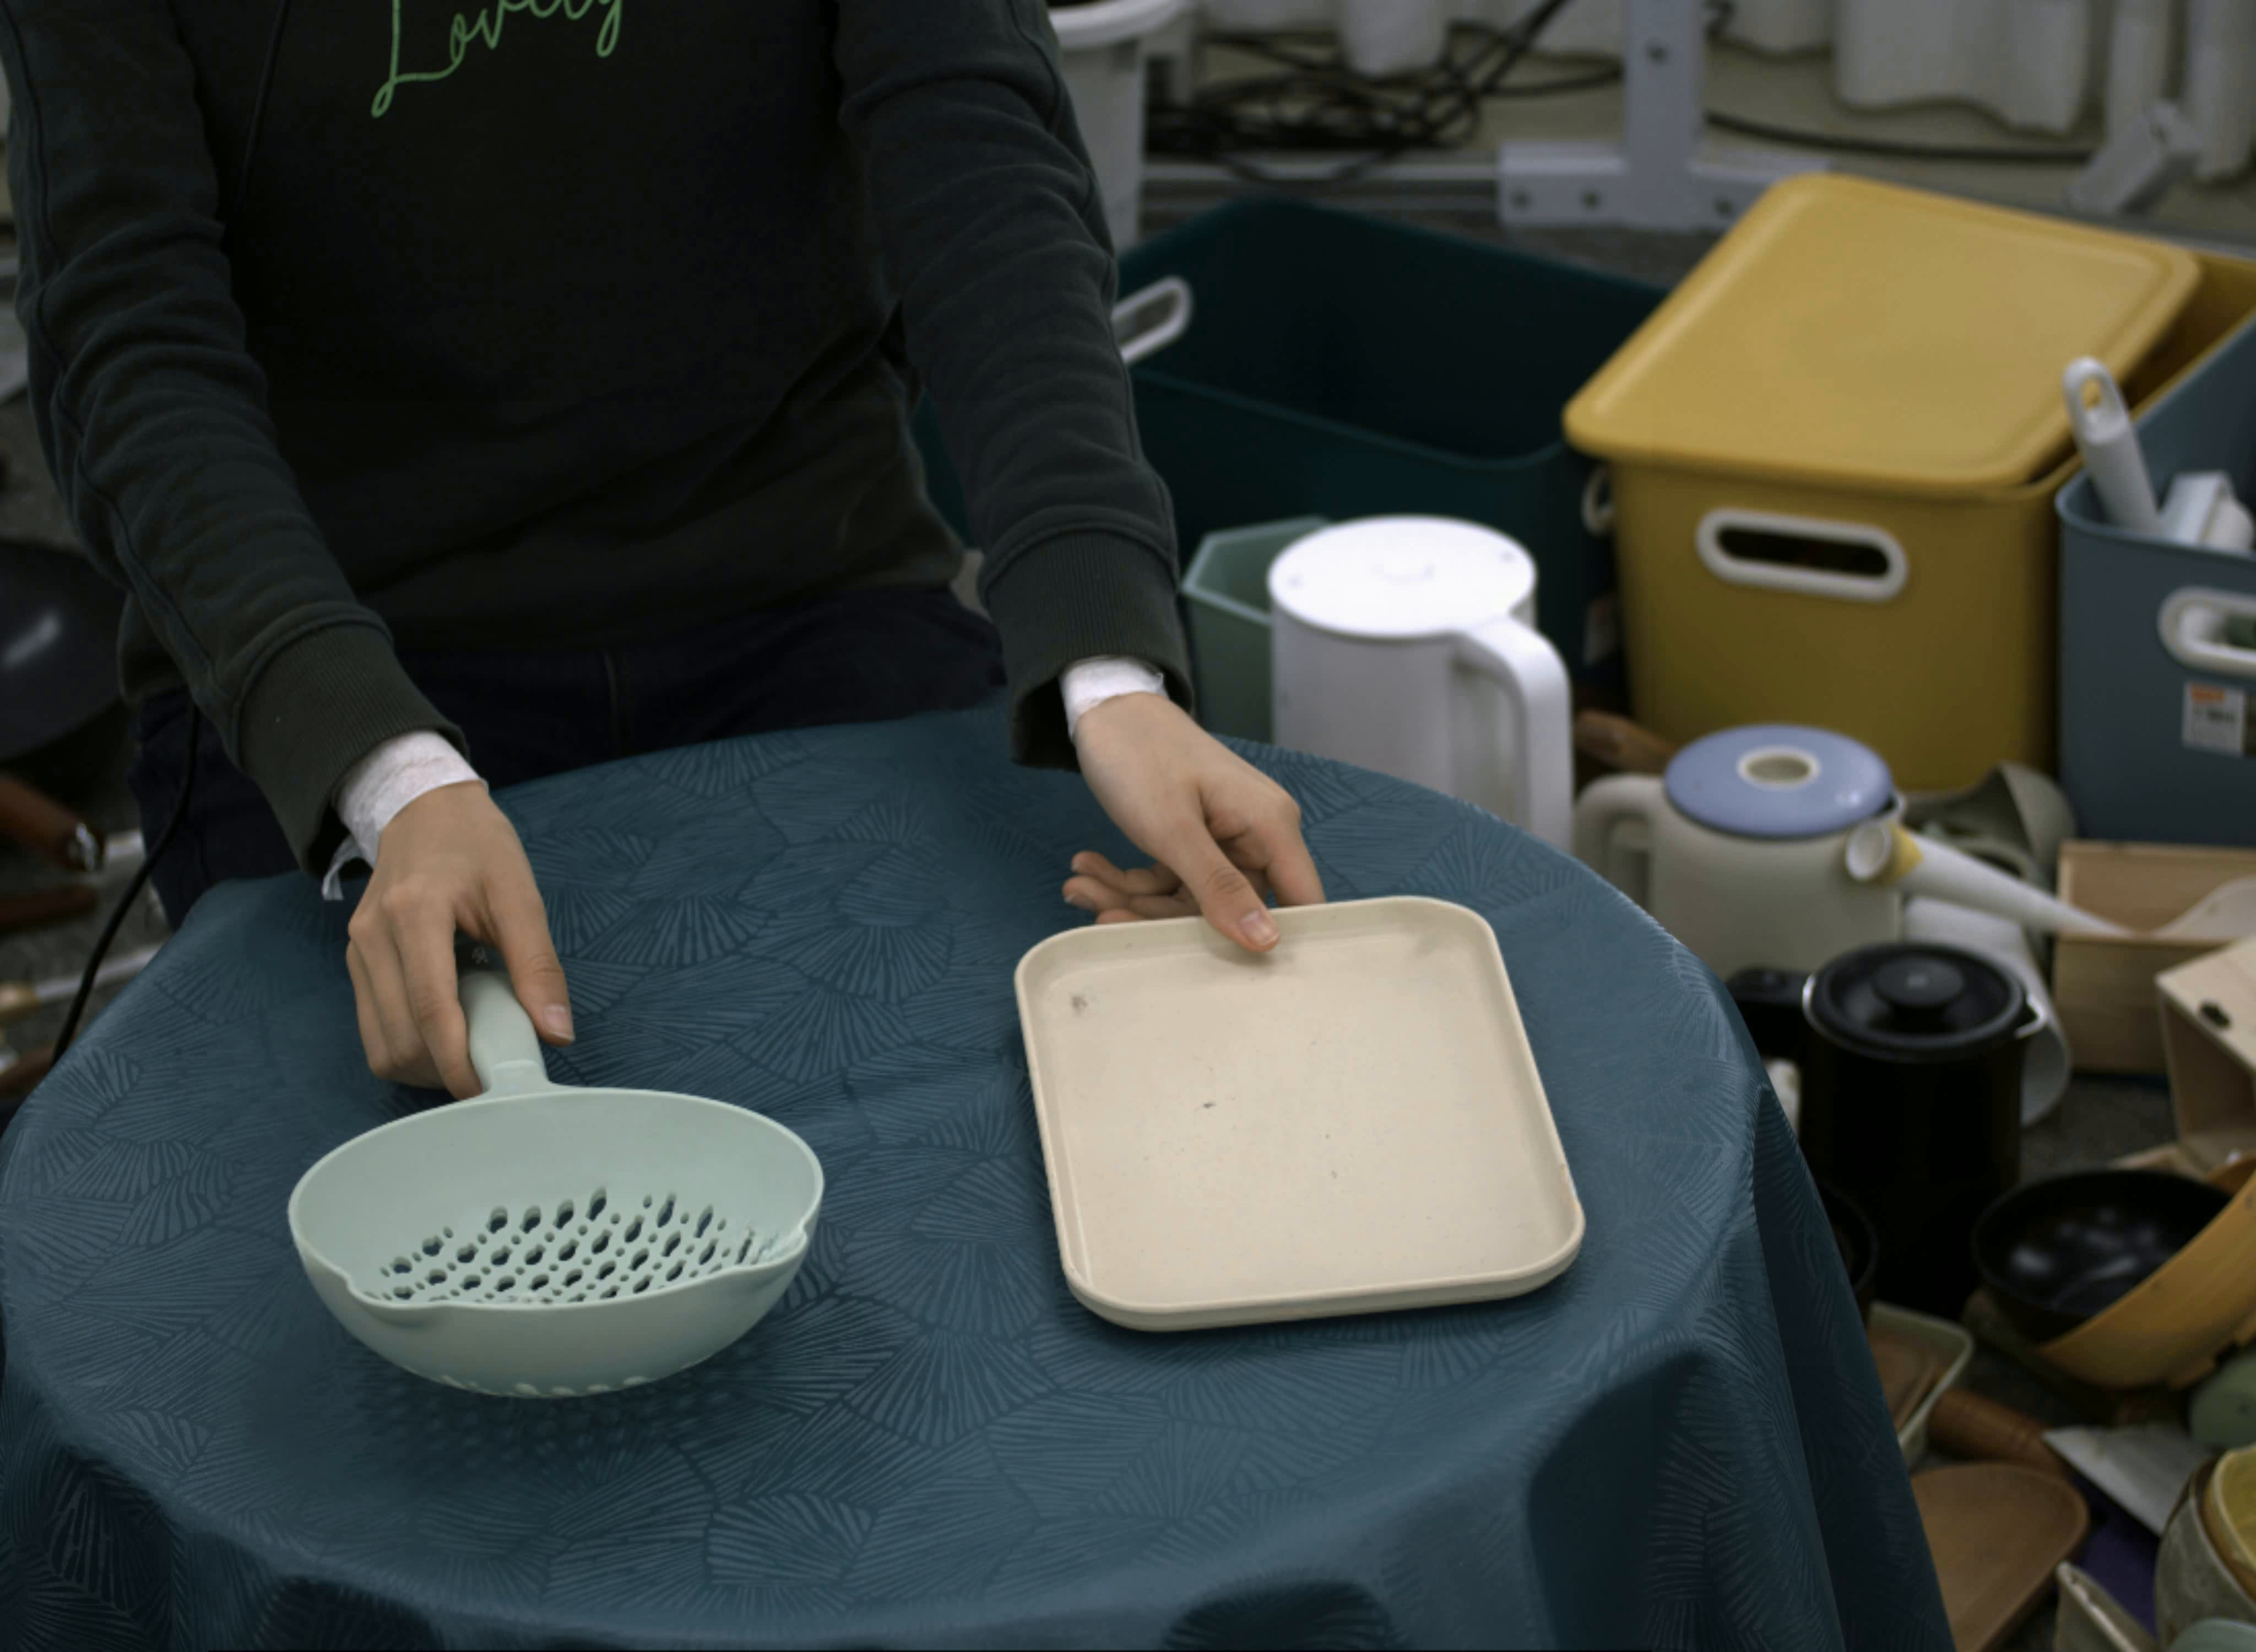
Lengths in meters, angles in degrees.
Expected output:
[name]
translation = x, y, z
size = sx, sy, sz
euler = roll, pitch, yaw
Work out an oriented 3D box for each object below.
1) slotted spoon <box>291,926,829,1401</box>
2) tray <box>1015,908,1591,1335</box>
[slotted spoon]
translation = -0.199, 0.096, 1.860
size = 0.169, 0.074, 0.363
euler = -4, 27, -12
[tray]
translation = 0.055, 0.097, 1.878
size = 0.171, 0.017, 0.243
euler = -5, 28, -4
